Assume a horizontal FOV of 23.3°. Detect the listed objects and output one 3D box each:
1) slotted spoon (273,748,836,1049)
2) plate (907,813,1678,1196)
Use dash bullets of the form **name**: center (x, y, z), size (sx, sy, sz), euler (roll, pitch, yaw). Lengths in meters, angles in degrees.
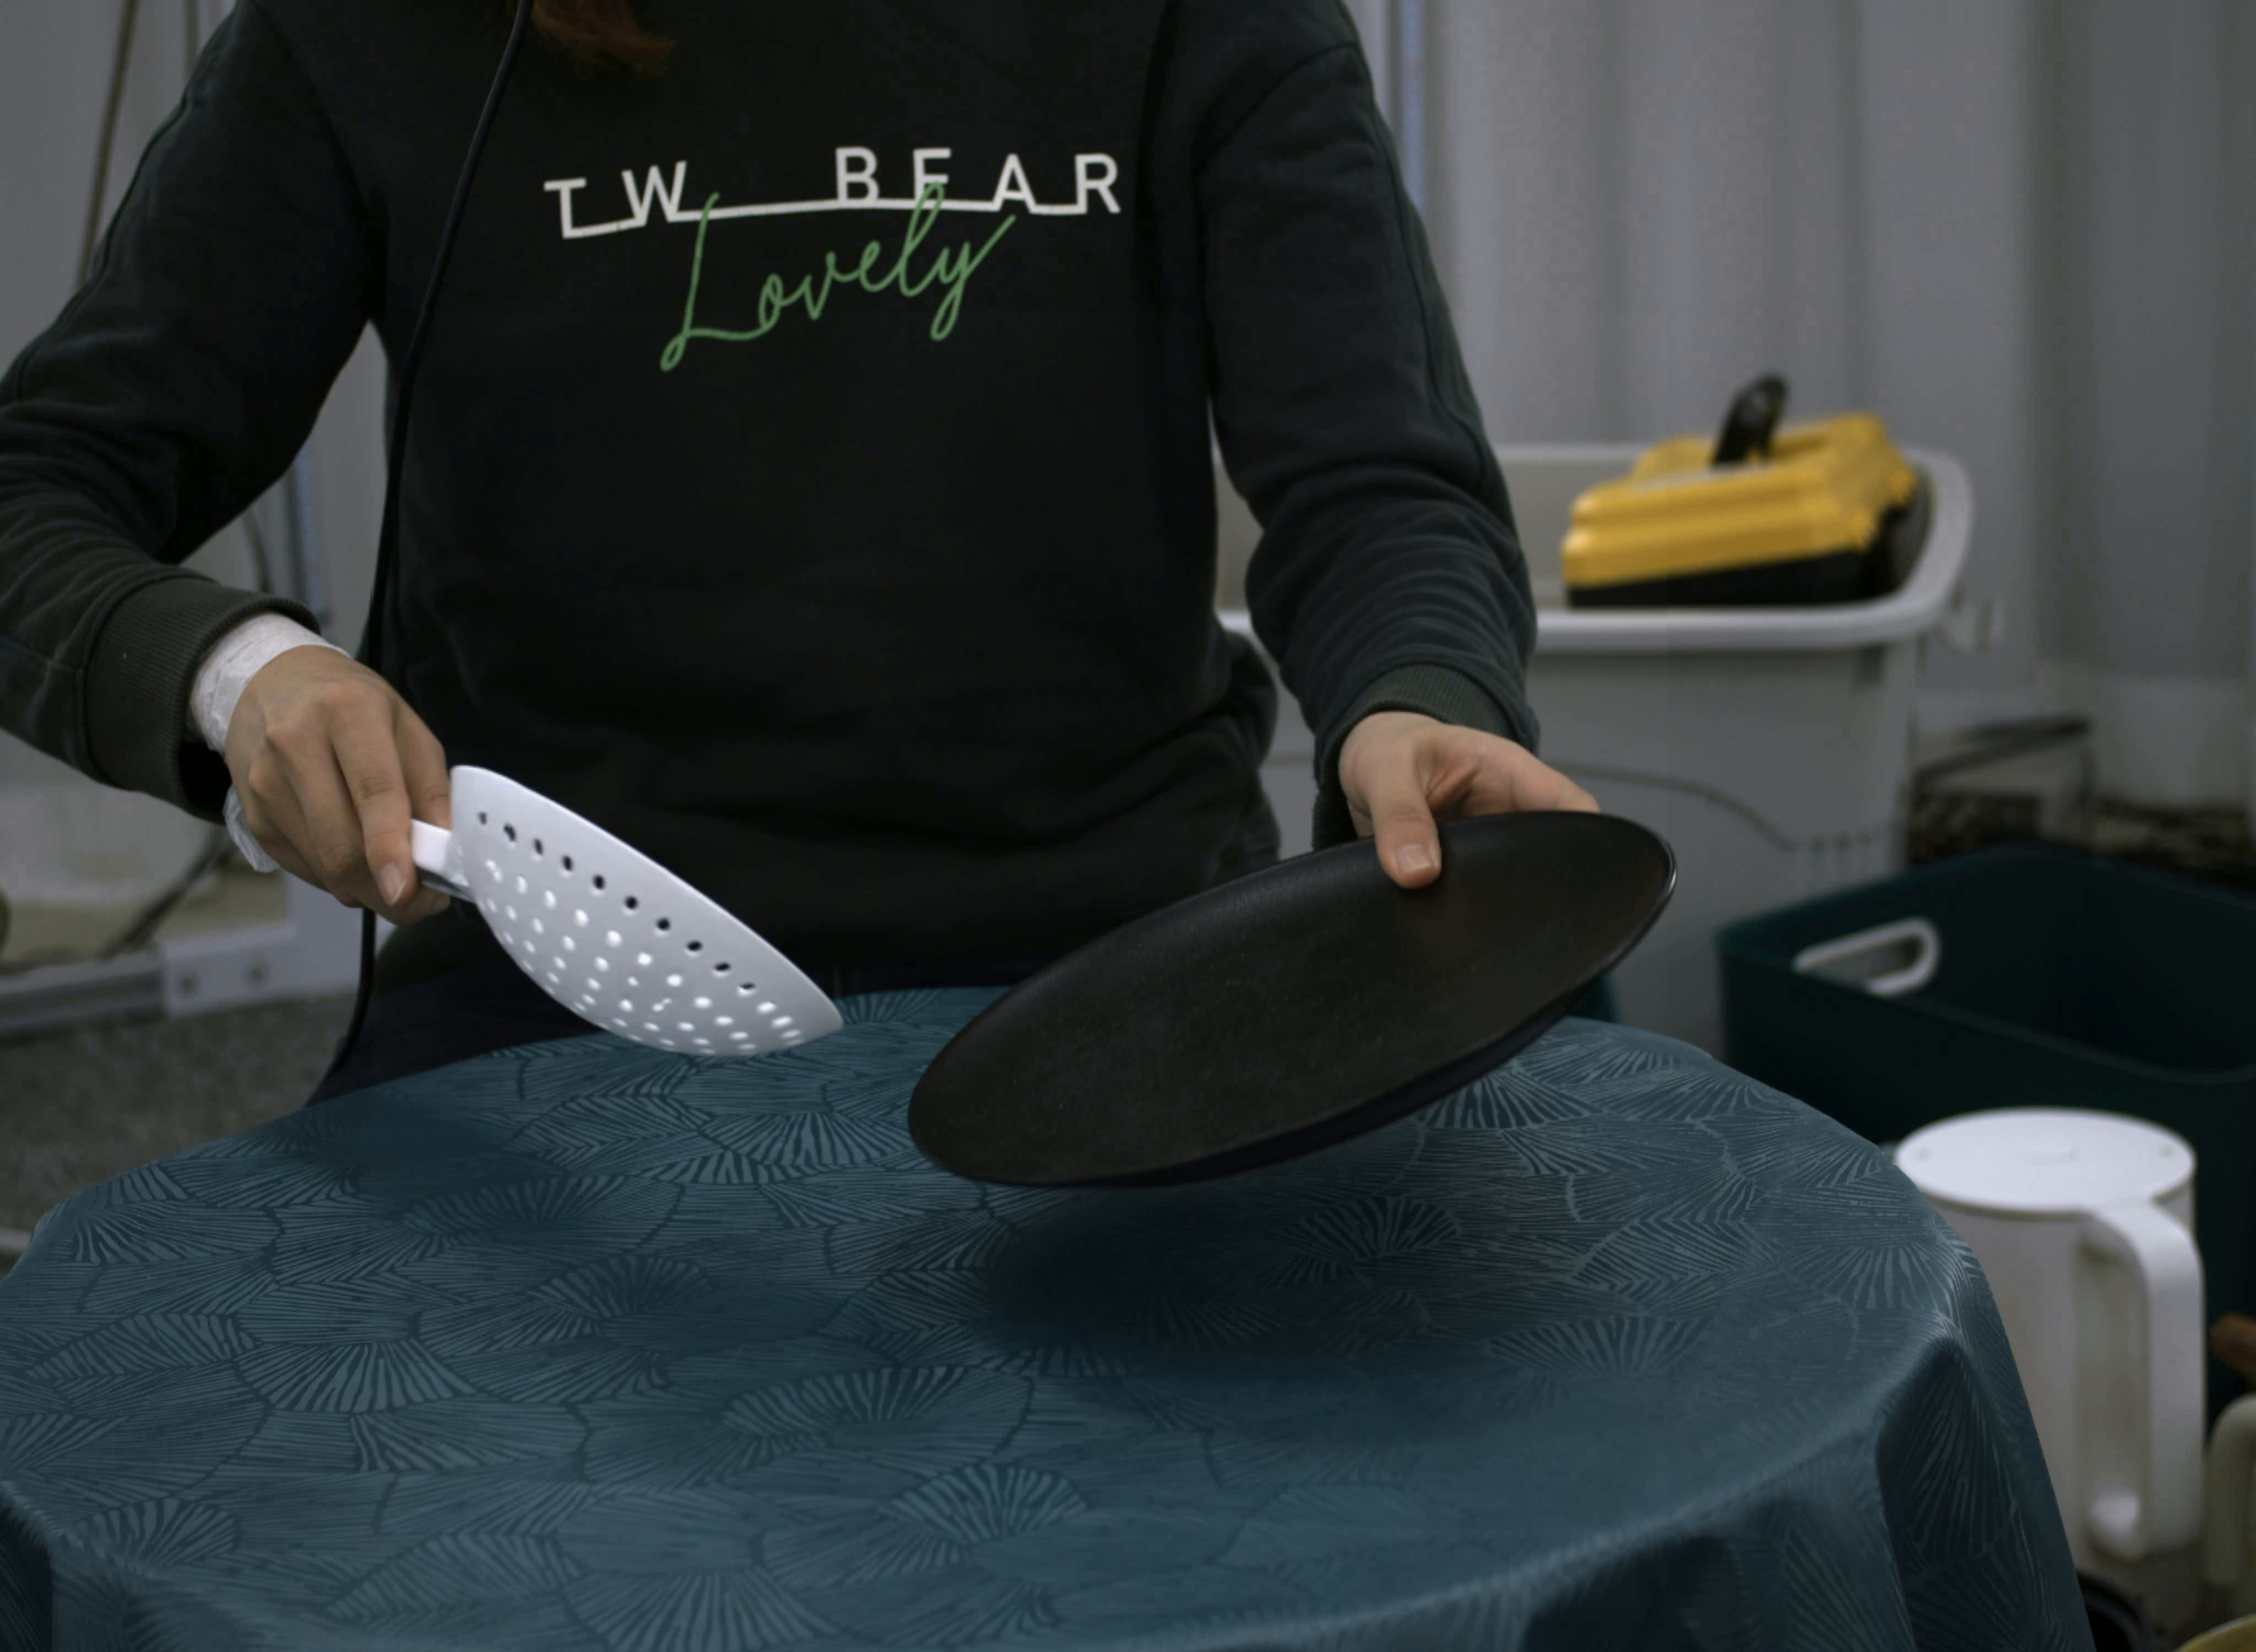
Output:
- **slotted spoon**: center (-0.196, 0.014, 1.694), size (0.134, 0.046, 0.352), euler (40, -9, -26)
- **plate**: center (0.051, 0.058, 1.632), size (0.244, 0.023, 0.246), euler (-19, 16, 5)
